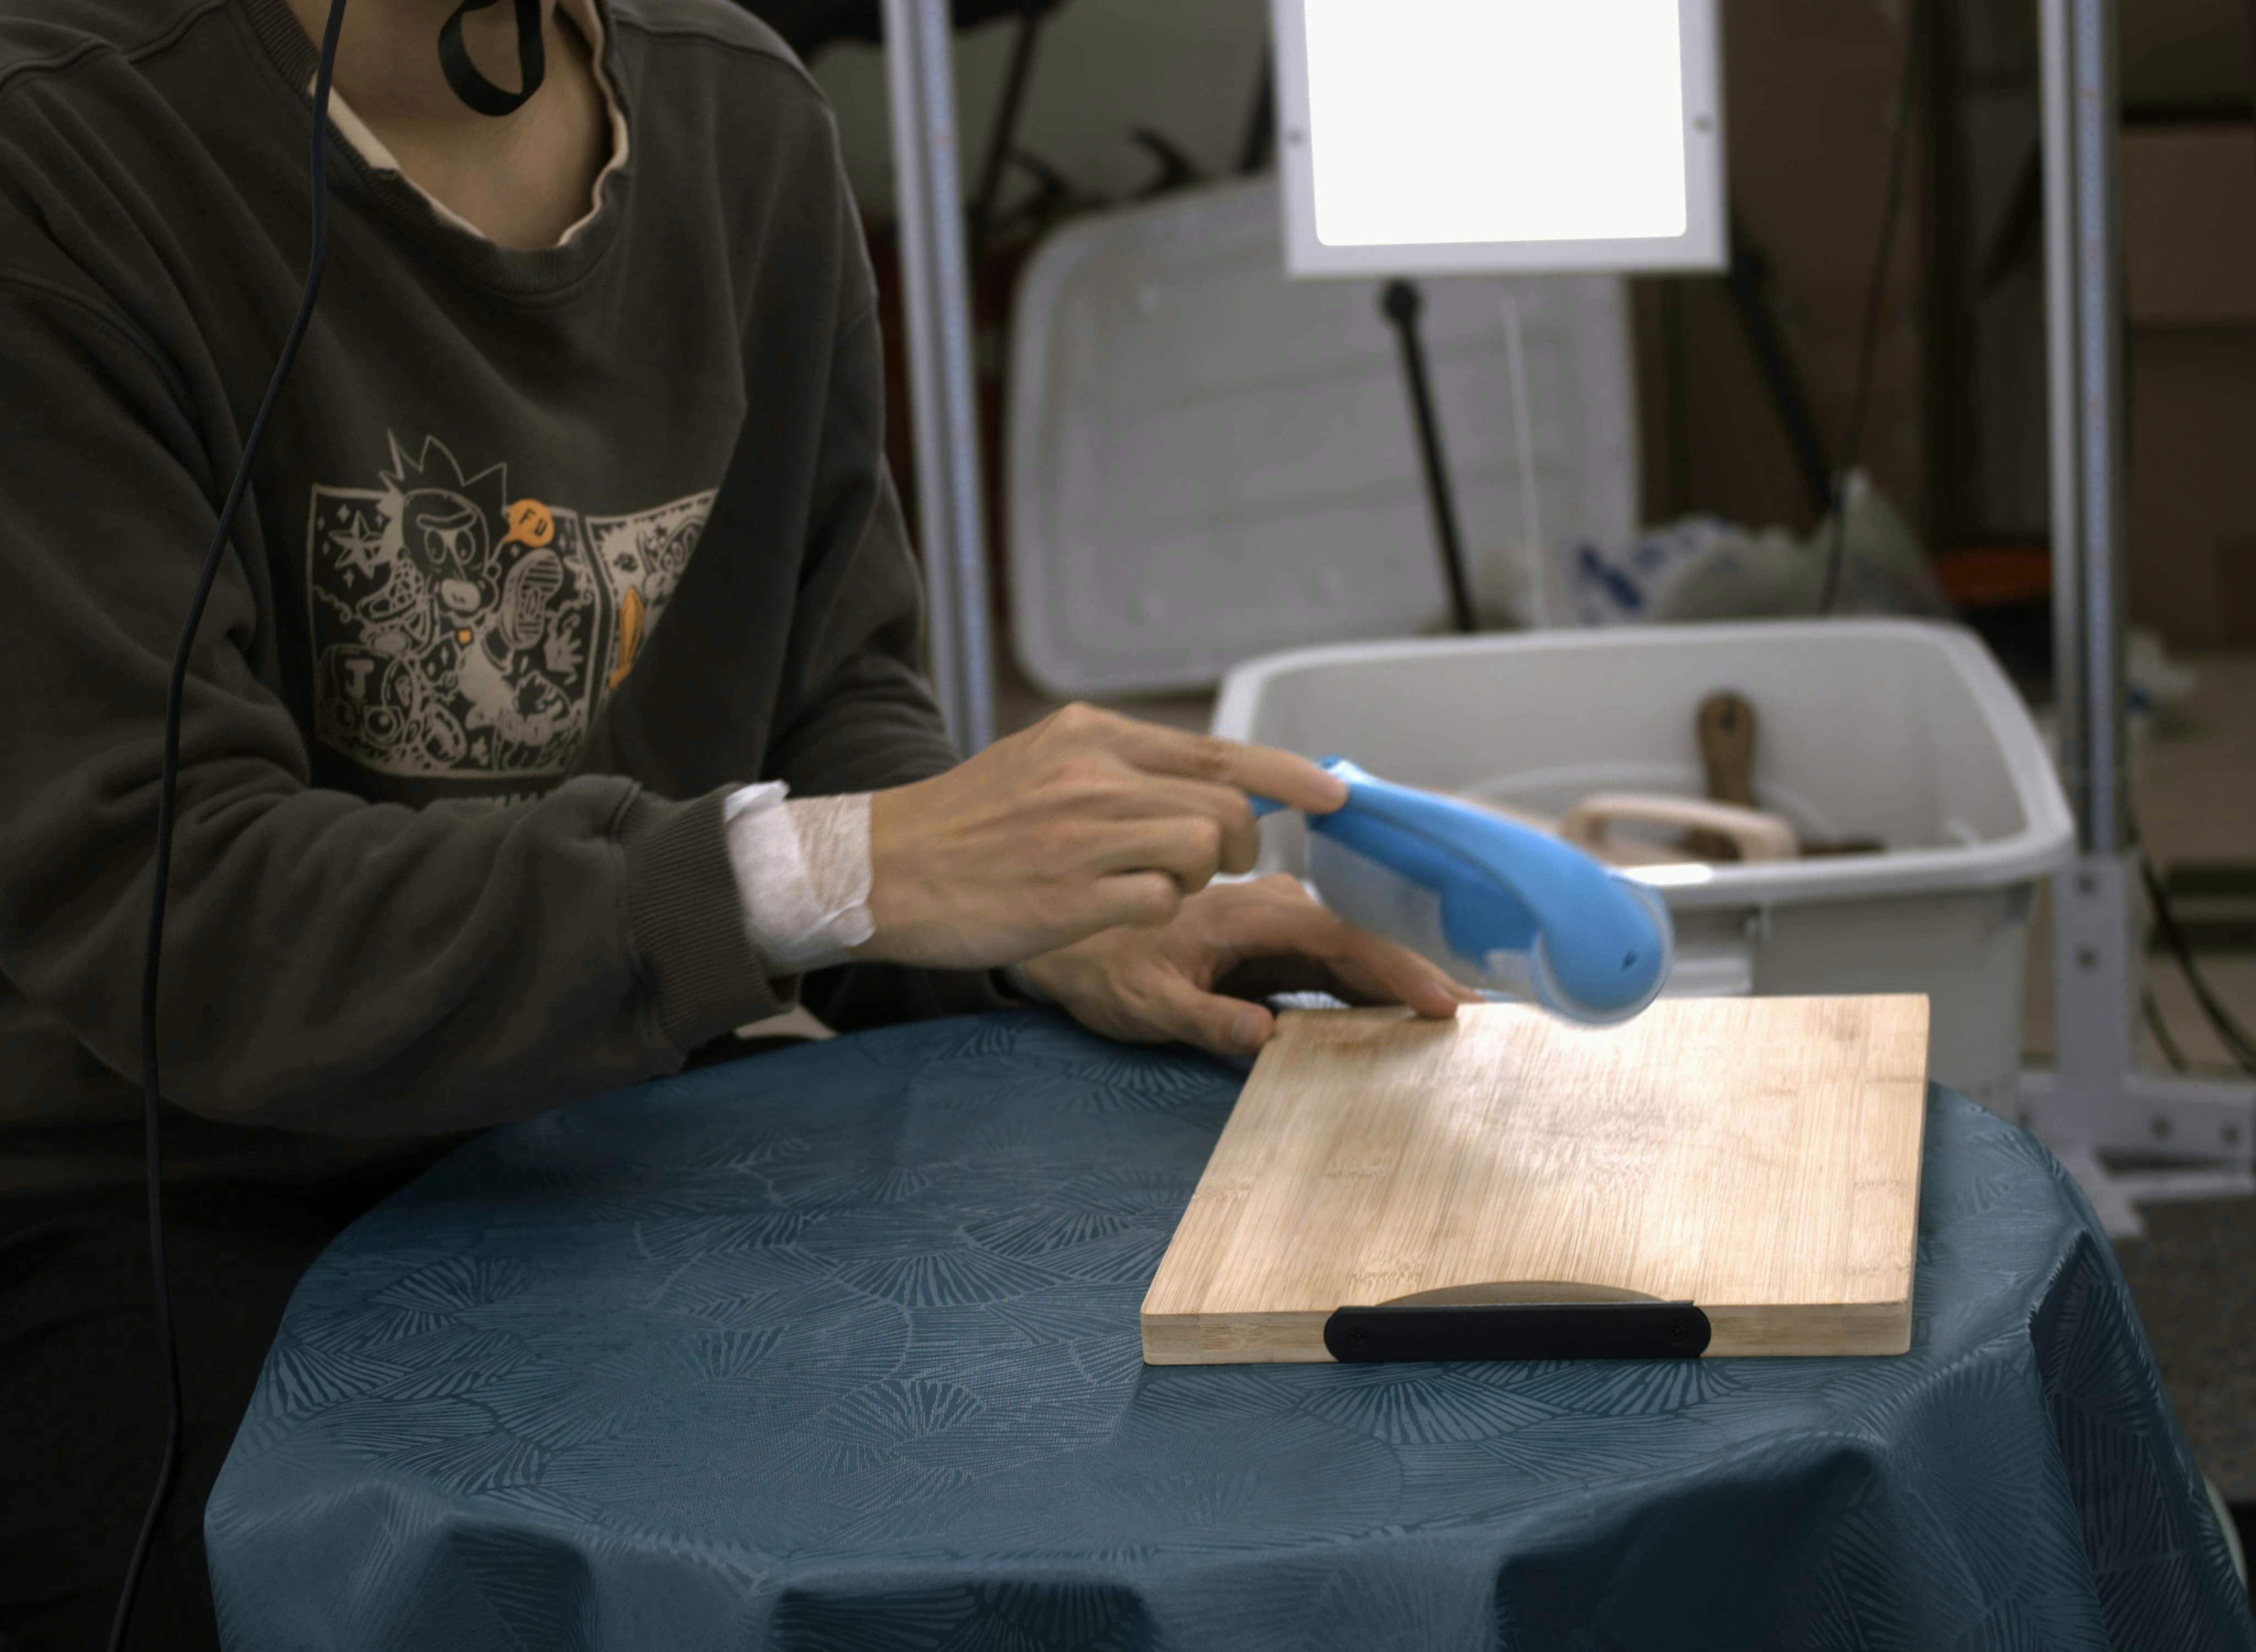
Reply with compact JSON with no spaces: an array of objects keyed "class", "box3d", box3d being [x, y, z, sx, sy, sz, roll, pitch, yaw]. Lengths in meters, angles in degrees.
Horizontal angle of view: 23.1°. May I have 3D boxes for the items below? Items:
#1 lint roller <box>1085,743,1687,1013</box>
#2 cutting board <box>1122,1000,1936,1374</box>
[{"class":"lint roller","box3d":[0.075,0.009,1.890,0.177,0.068,0.232,12,5,-23]},{"class":"cutting board","box3d":[0.146,0.117,1.849,0.252,0.023,0.345,-3,14,10]}]
